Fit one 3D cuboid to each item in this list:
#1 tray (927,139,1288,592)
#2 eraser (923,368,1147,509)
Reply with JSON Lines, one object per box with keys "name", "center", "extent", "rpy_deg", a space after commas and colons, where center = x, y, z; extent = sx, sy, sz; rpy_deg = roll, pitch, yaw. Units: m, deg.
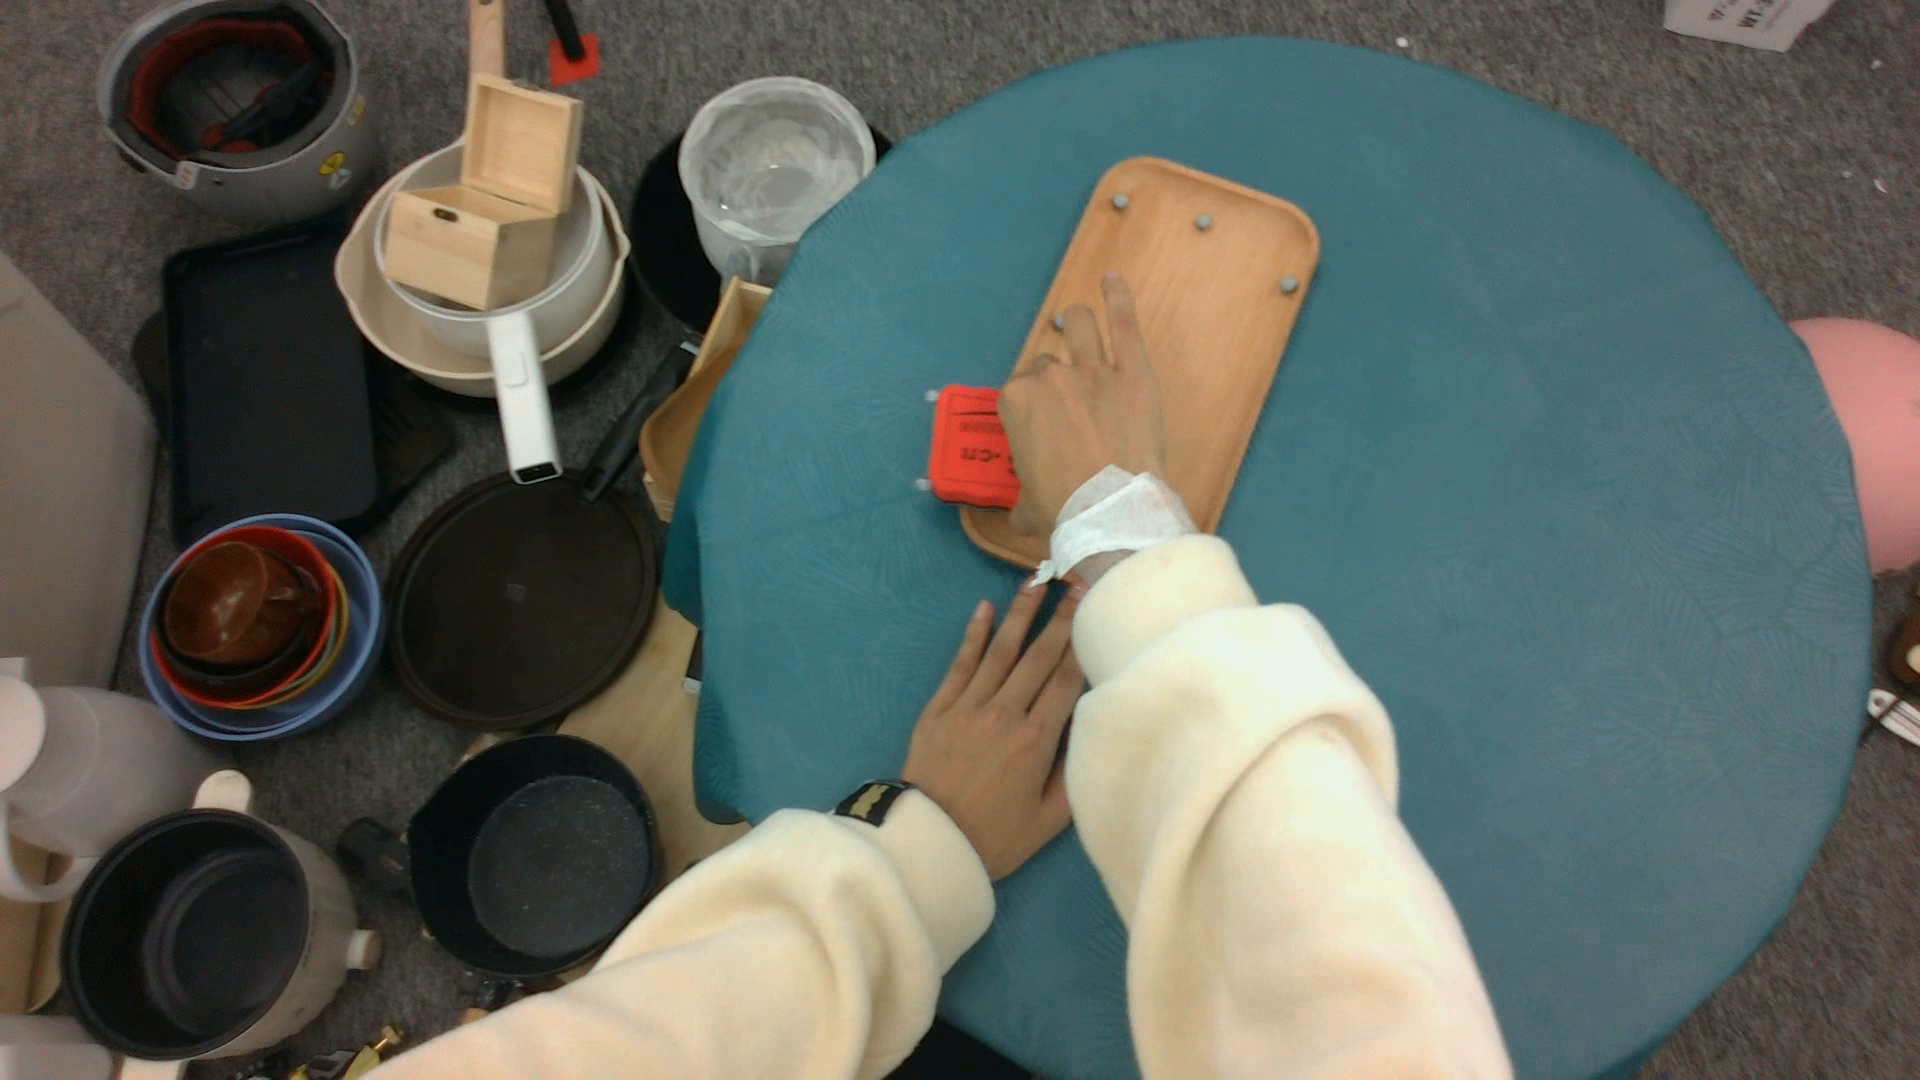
{"name": "tray", "center": [0.081, -0.097, 0.724], "extent": [0.130, 0.023, 0.251], "rpy_deg": [21, 71, 8]}
{"name": "eraser", "center": [0.037, -0.050, 0.687], "extent": [0.108, 0.023, 0.059], "rpy_deg": [7, 74, 0]}
